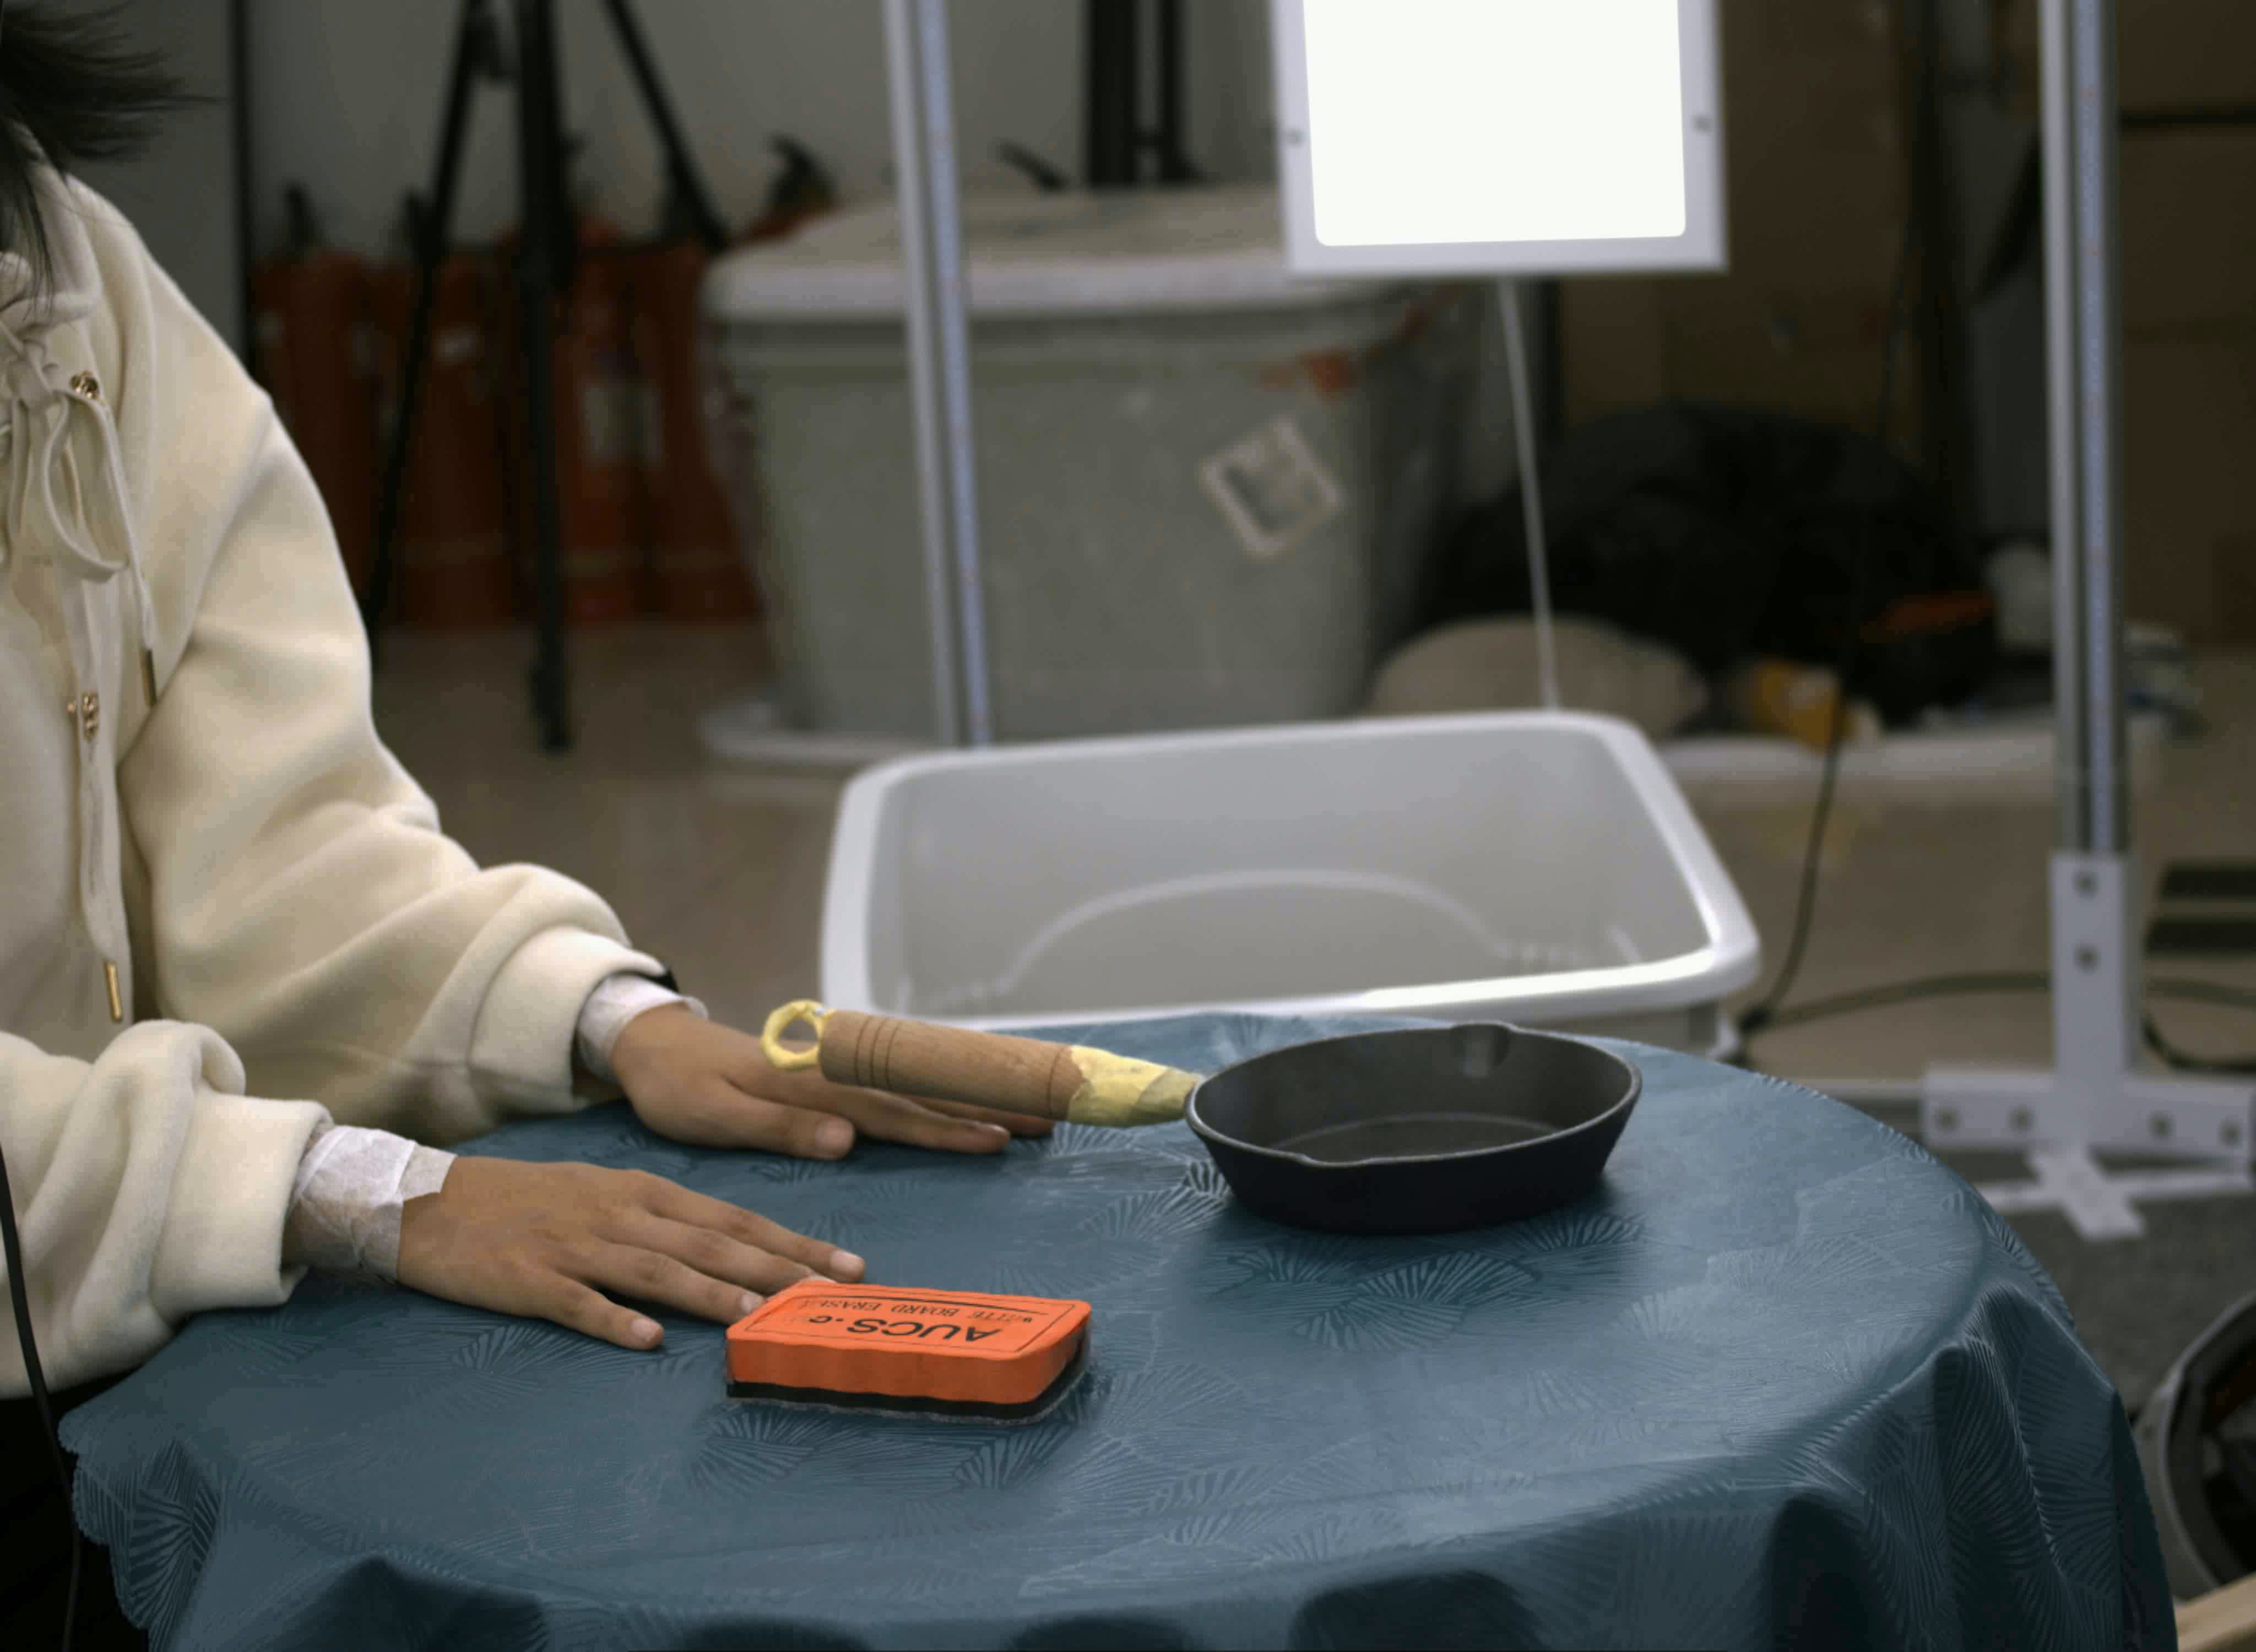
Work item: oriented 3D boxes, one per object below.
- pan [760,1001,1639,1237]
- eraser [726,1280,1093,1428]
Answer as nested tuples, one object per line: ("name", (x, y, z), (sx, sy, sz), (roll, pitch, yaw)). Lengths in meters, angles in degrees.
("pan", (0.020, 0.095, 1.915), (0.329, 0.050, 0.165), (3, 16, 25))
("eraser", (-0.068, 0.164, 1.721), (0.110, 0.023, 0.058), (2, 15, 28))
